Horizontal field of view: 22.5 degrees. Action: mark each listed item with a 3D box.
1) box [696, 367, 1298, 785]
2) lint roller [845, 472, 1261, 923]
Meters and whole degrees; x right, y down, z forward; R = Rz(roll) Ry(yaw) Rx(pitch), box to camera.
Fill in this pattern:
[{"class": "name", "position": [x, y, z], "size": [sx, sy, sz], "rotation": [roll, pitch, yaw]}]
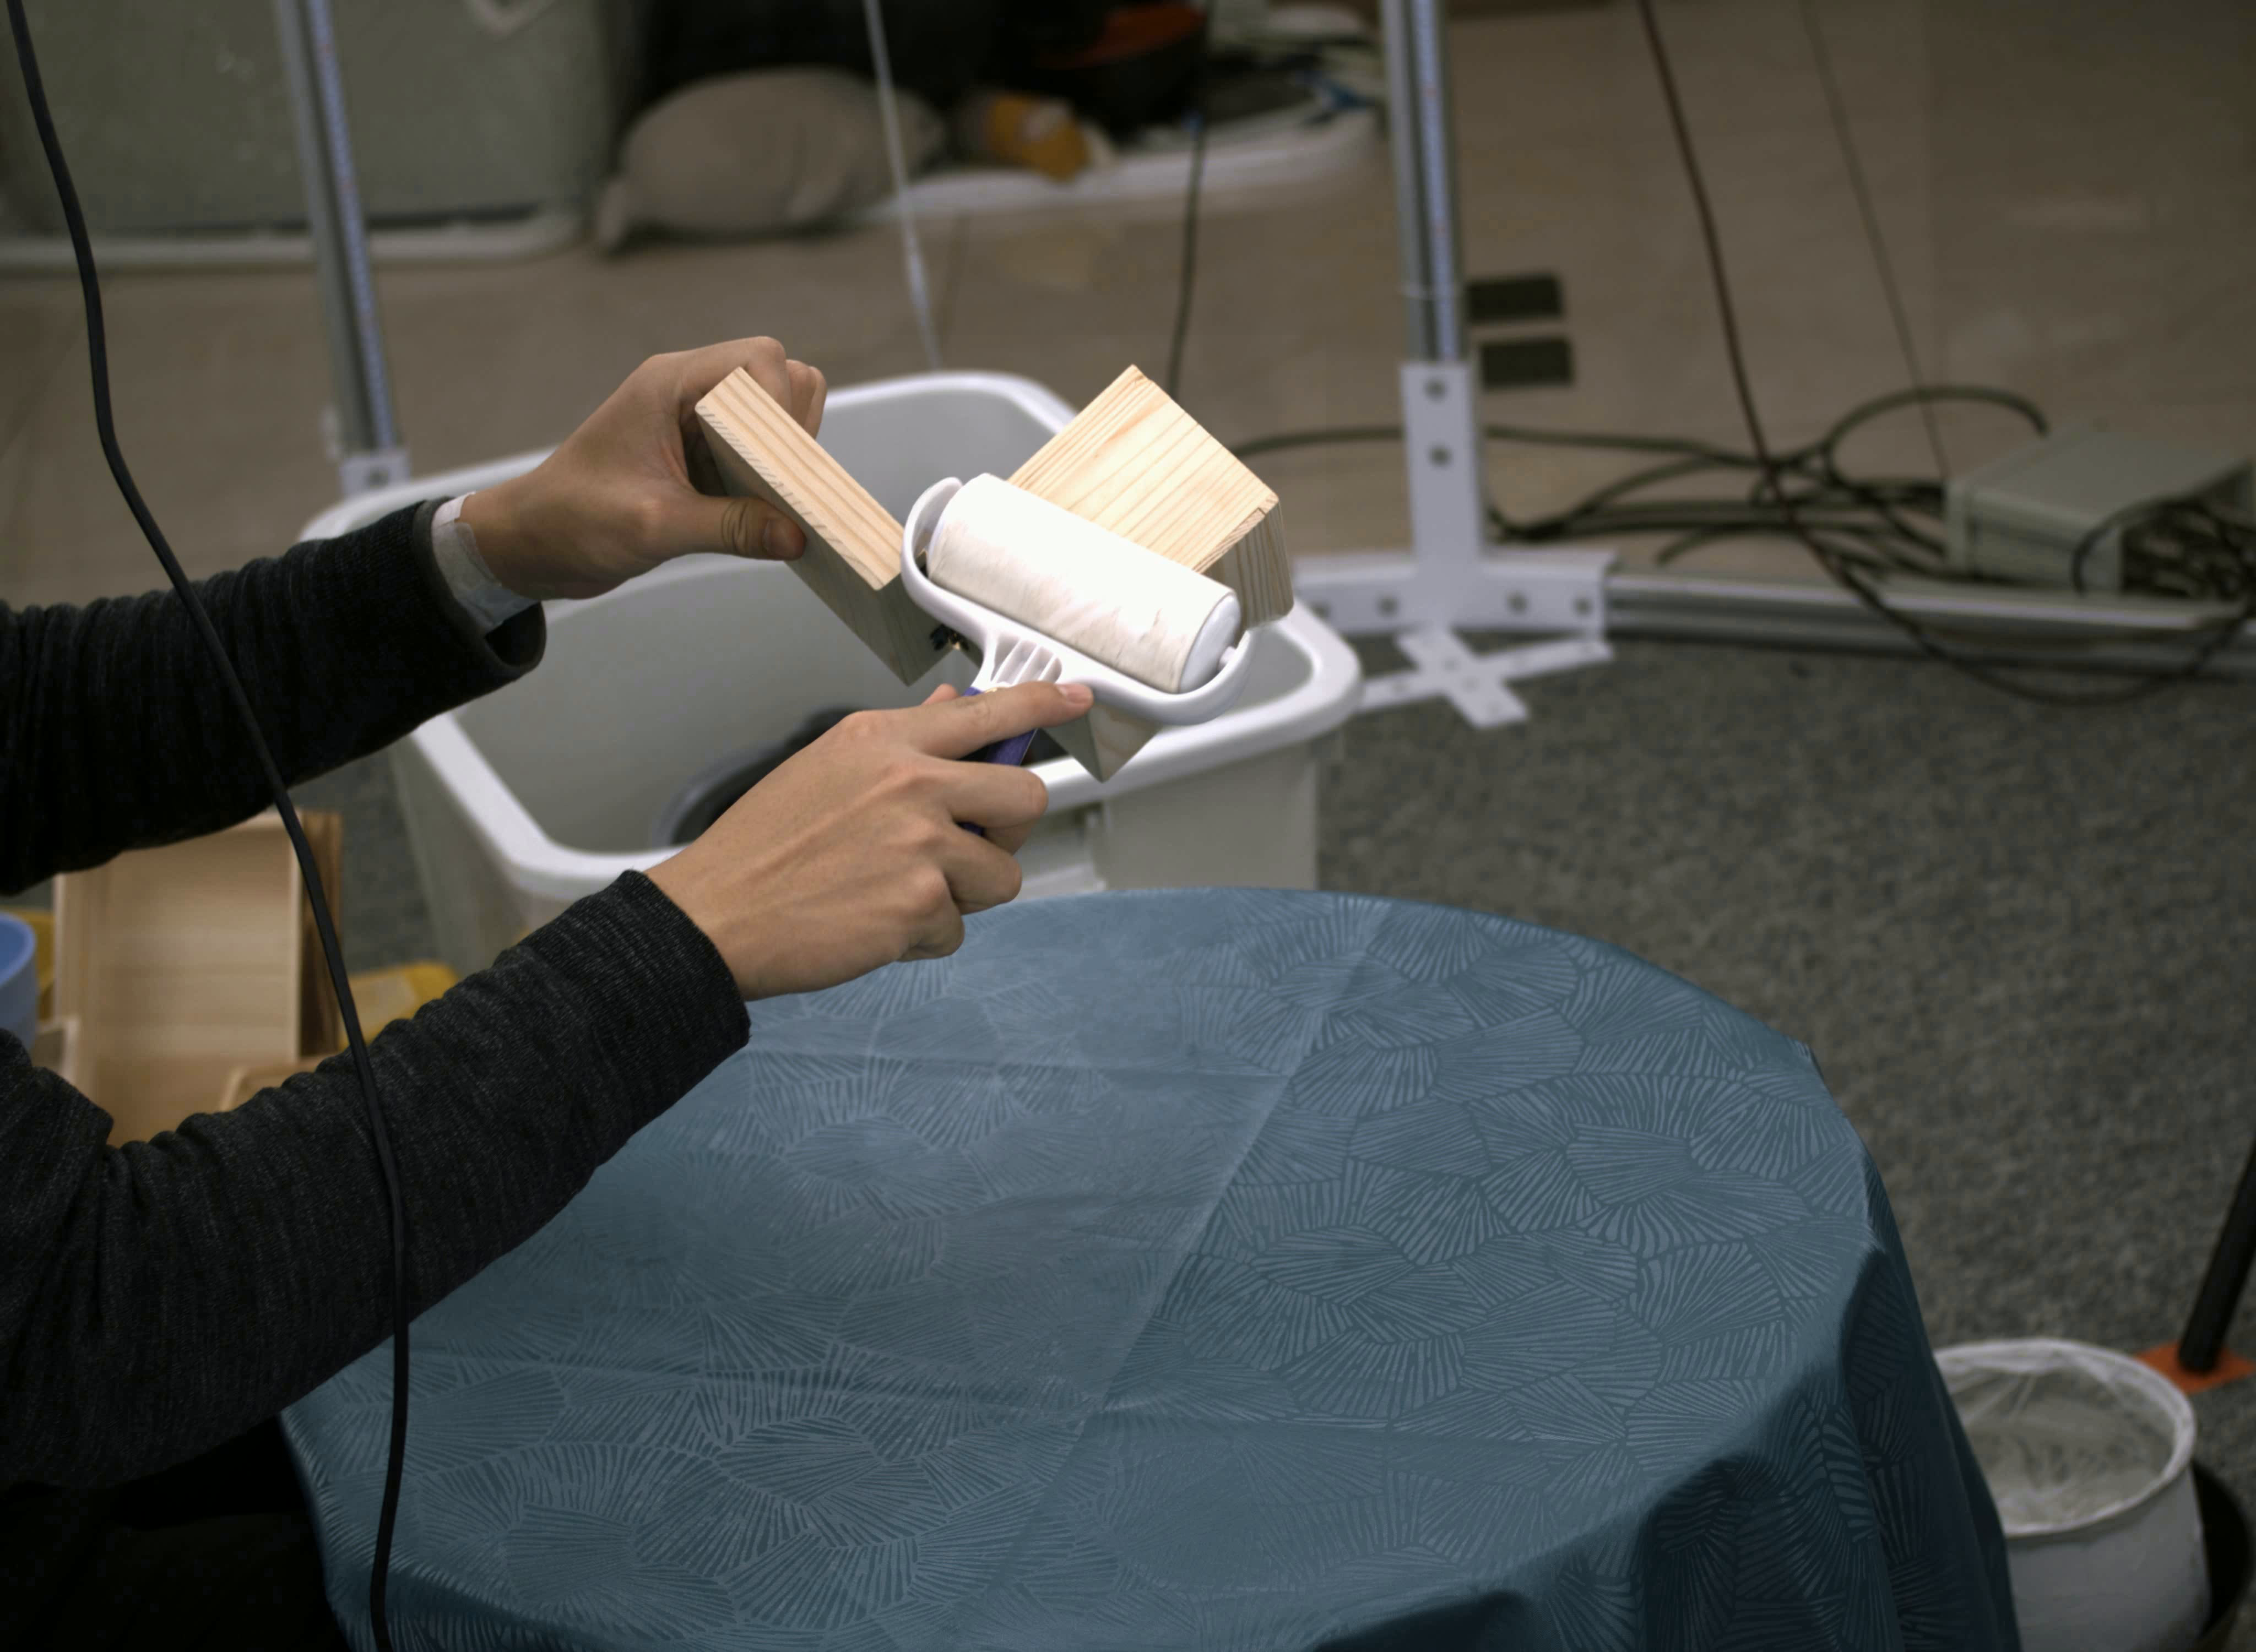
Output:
[{"class": "box", "position": [-0.046, -0.118, 2.072], "size": [0.133, 0.104, 0.183], "rotation": [-44, 73, -10]}, {"class": "lint roller", "position": [-0.047, -0.041, 1.944], "size": [0.132, 0.051, 0.178], "rotation": [28, 53, 13]}]
